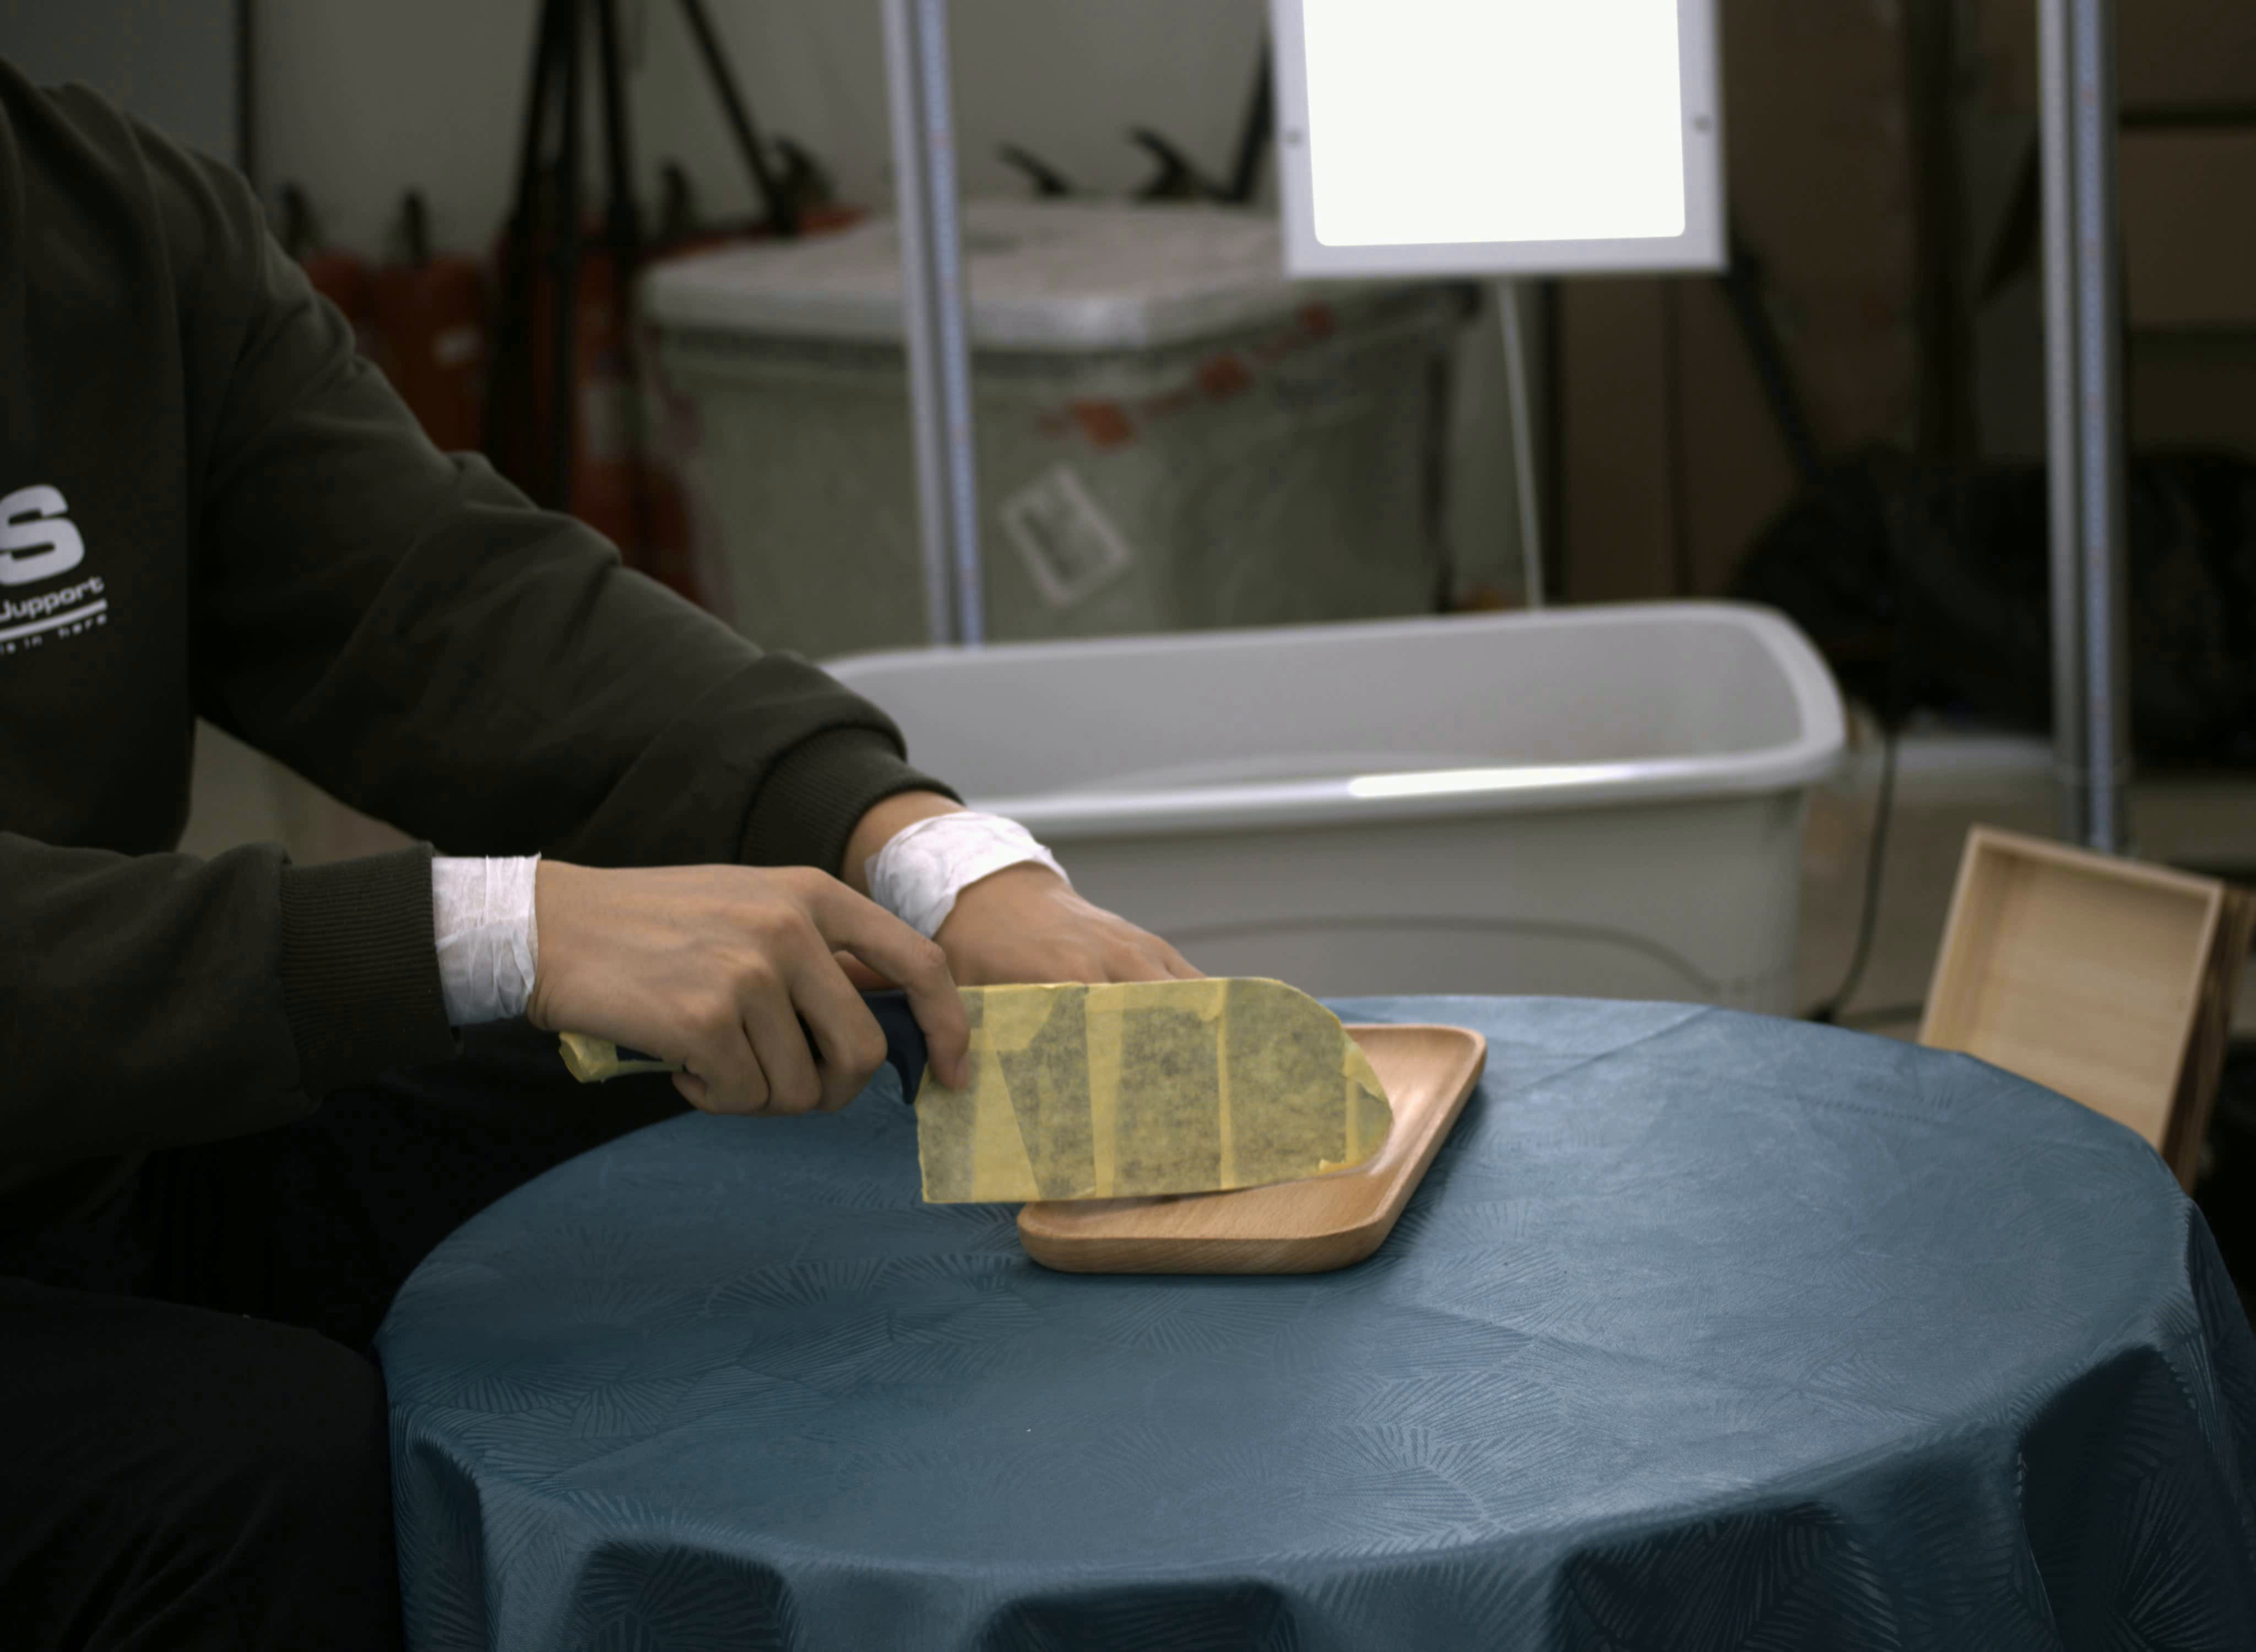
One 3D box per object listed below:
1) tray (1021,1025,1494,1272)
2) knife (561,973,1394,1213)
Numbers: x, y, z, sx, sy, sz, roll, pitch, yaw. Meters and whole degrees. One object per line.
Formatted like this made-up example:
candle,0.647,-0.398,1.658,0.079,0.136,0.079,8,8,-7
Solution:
tray,0.049,0.110,1.916,0.132,0.023,0.247,-4,14,16
knife,-0.047,0.089,1.847,0.286,0.081,0.027,1,-4,-12
